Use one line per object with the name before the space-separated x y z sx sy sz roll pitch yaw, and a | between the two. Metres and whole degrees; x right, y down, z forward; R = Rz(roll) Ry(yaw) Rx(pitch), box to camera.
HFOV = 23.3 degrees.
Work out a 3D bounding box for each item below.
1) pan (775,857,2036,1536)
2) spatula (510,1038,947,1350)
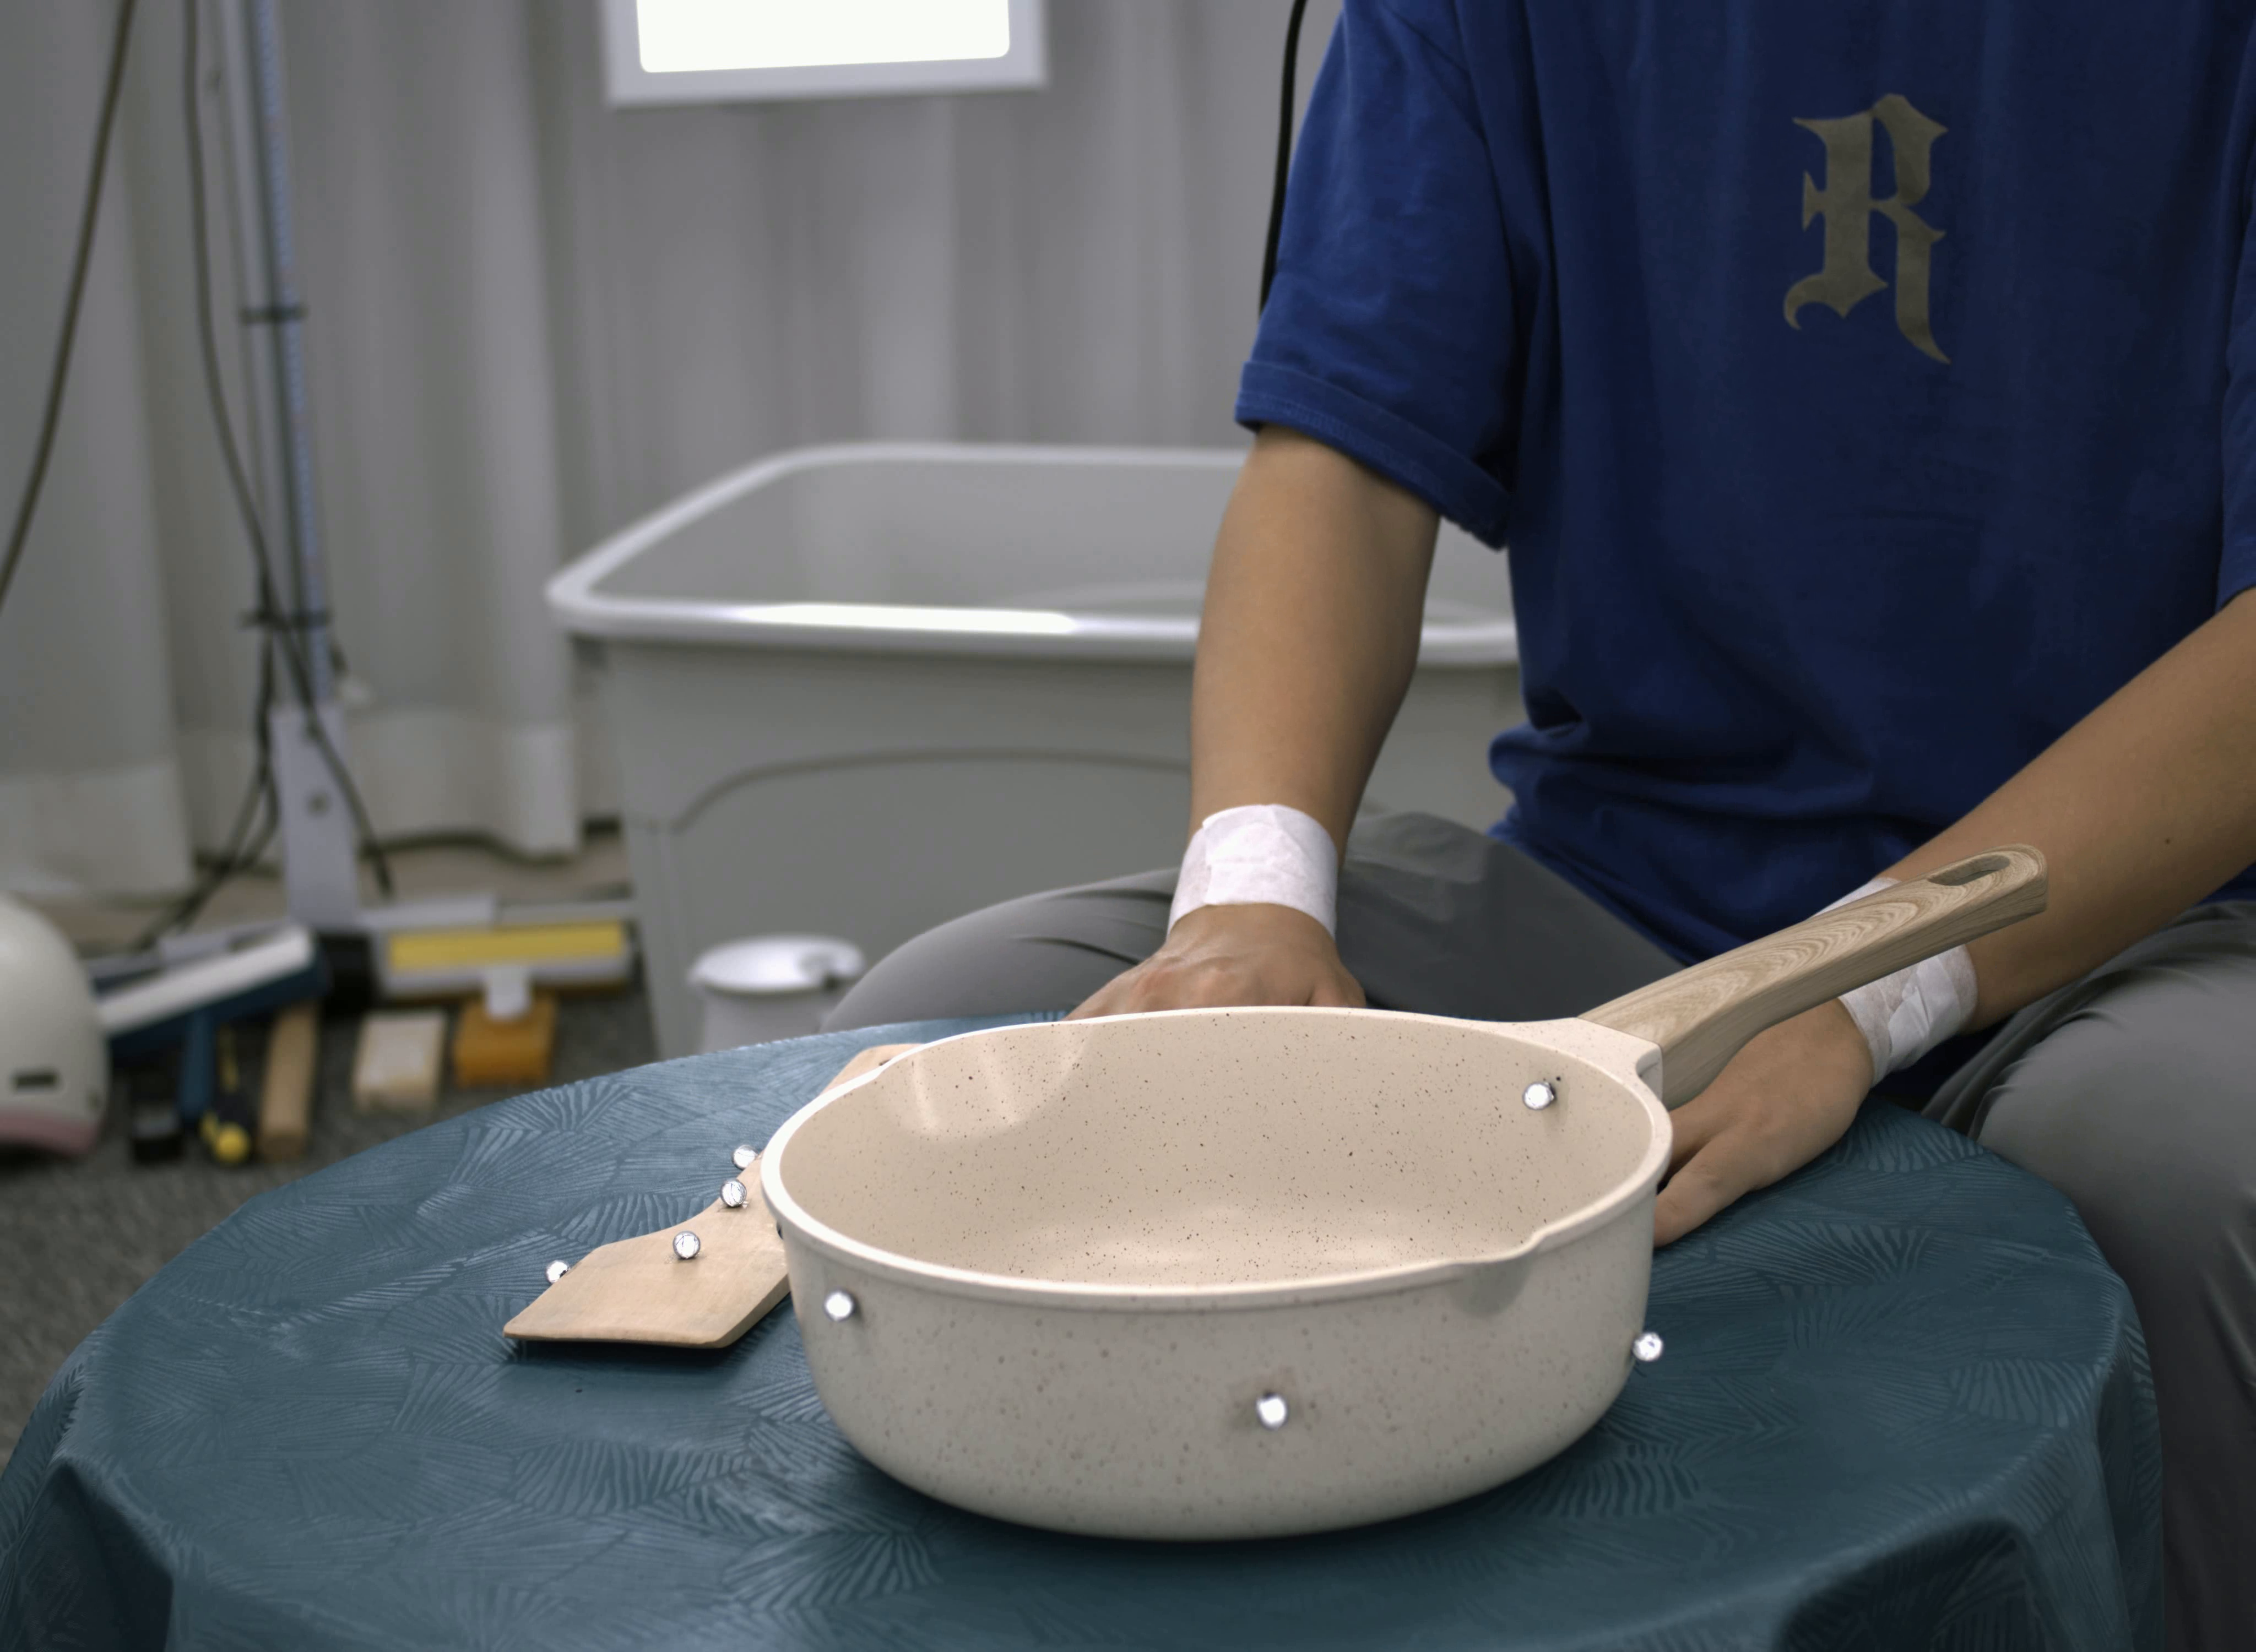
pan | 0.103 0.100 1.554 0.433 0.101 0.265 -13 16 -34
spatula | -0.112 0.113 1.719 0.072 0.010 0.294 0 15 16
